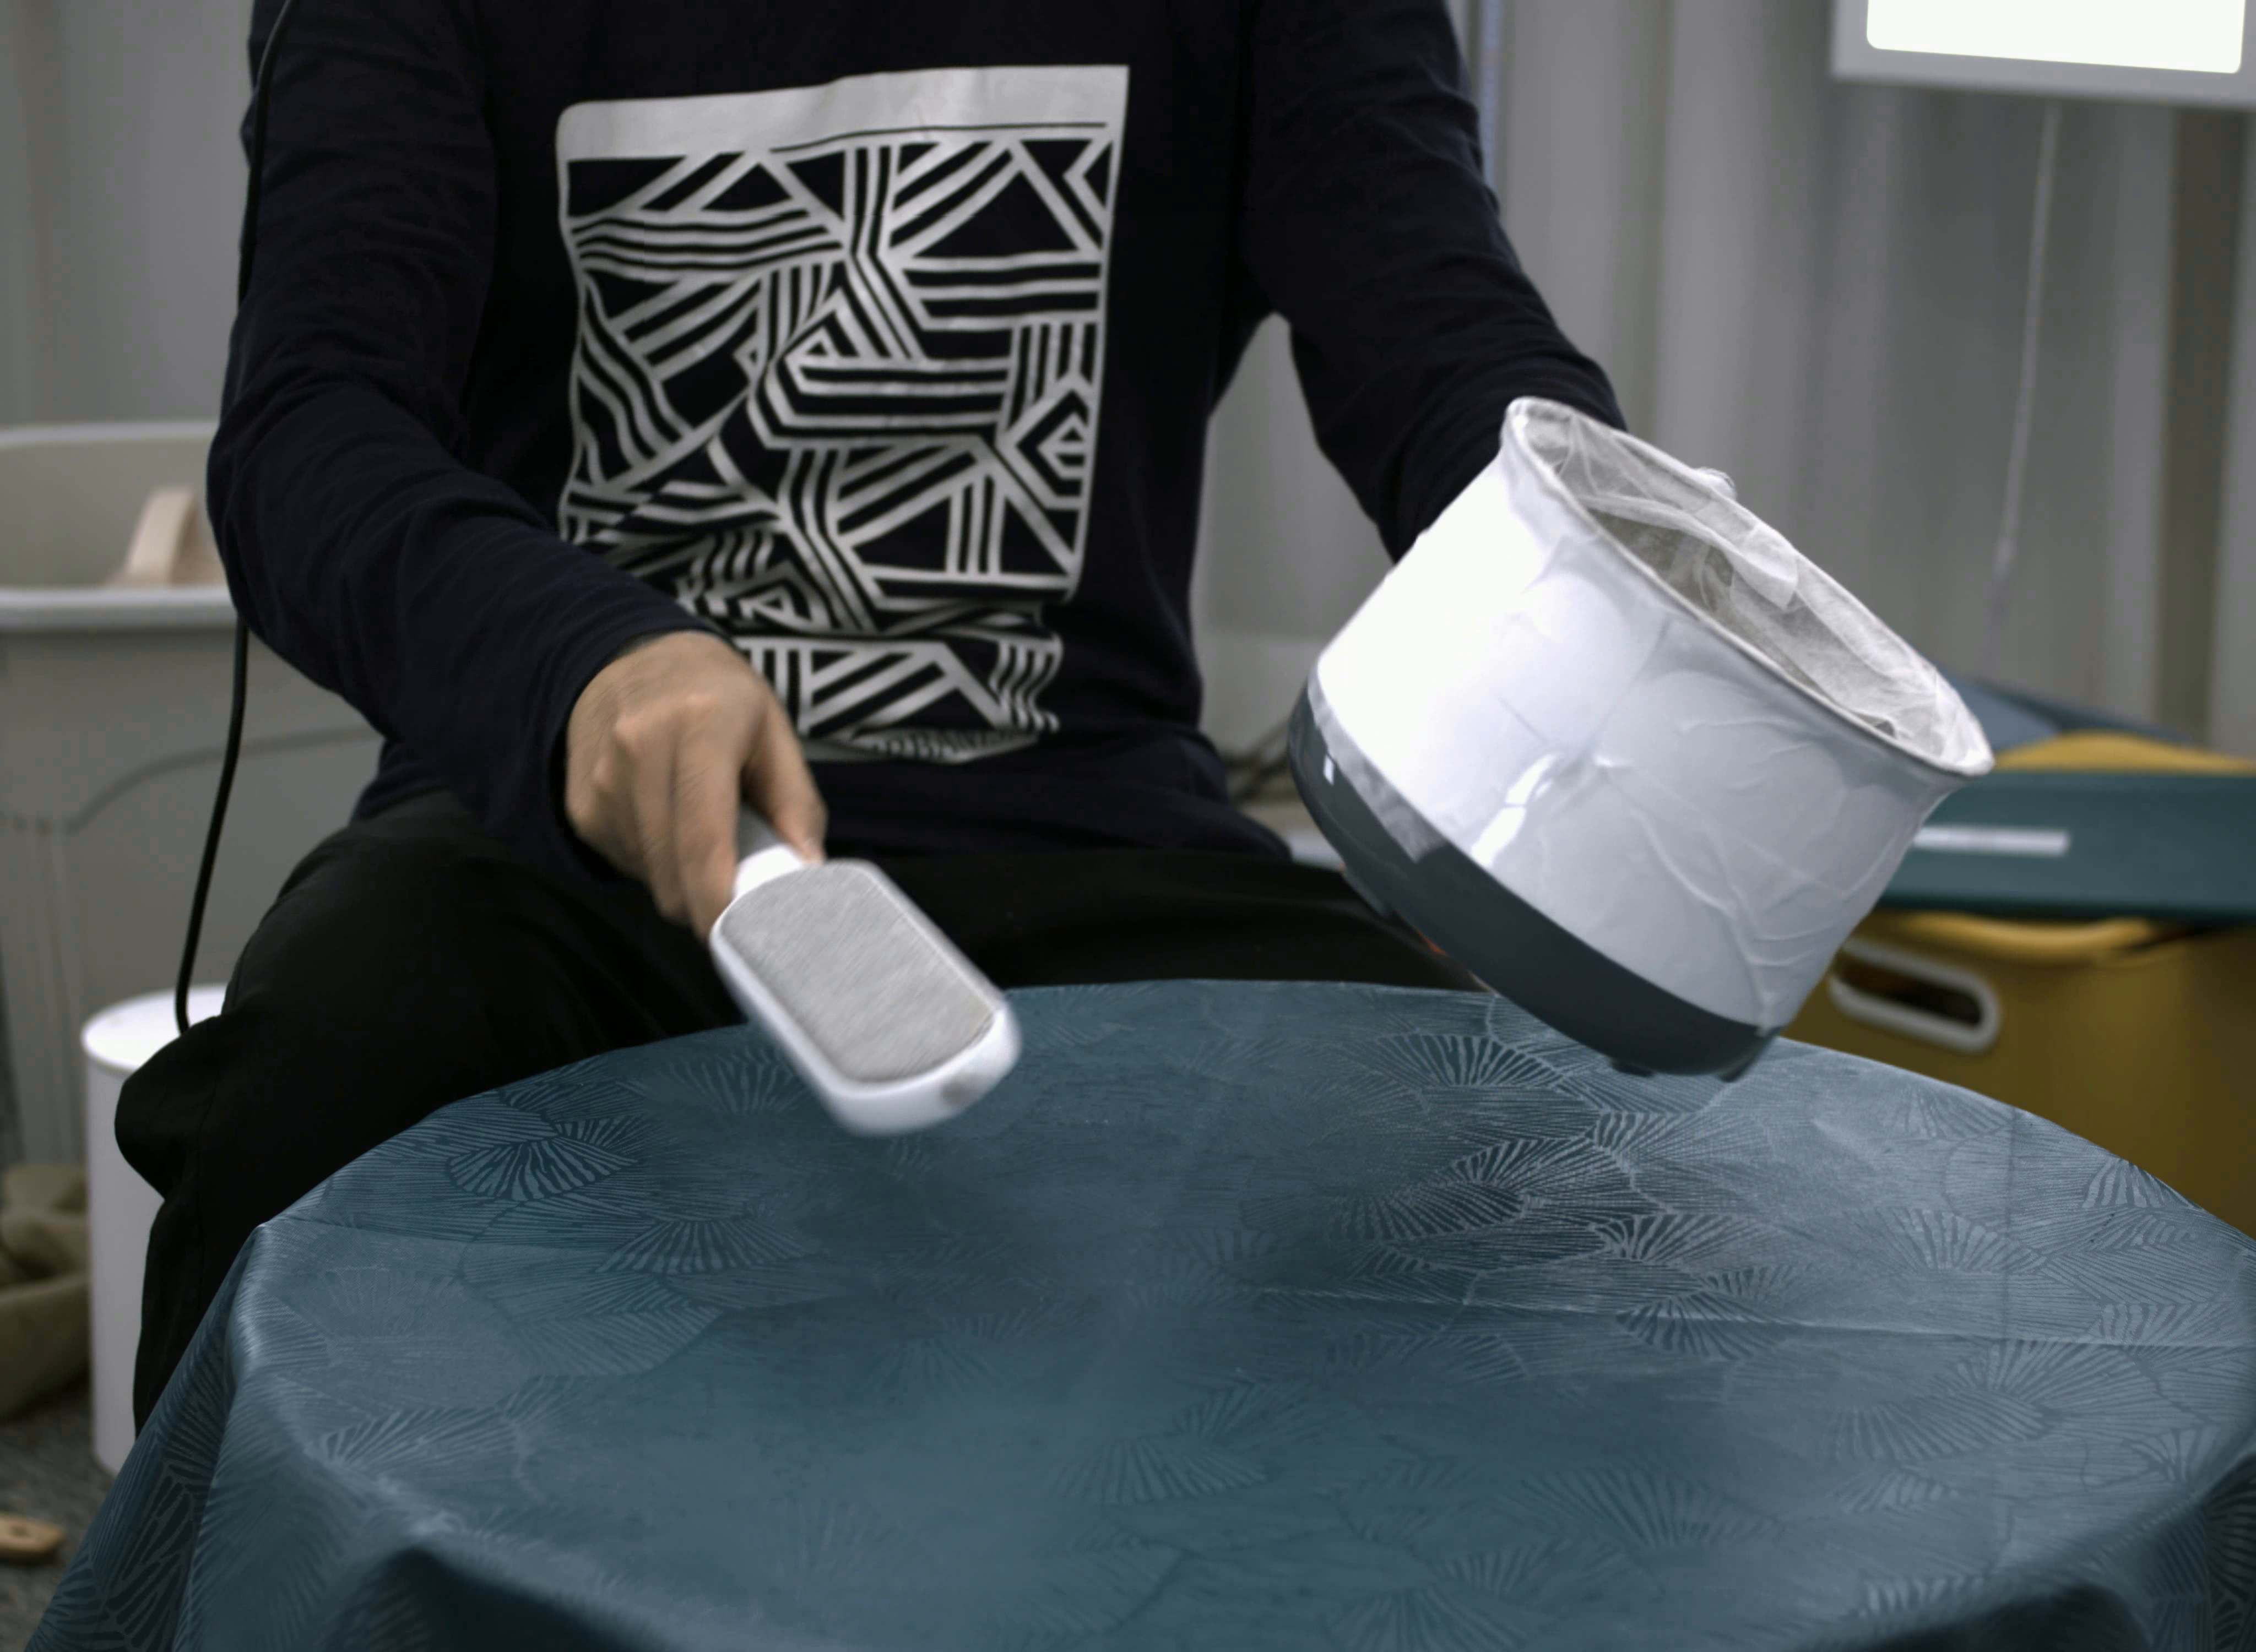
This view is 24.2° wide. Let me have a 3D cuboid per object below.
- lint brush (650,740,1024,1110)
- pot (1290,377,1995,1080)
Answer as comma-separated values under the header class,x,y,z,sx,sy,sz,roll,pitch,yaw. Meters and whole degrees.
class,x,y,z,sx,sy,sz,roll,pitch,yaw
lint brush,-0.097,0.023,1.602,0.060,0.021,0.305,-30,24,-9
pot,0.146,-0.036,1.578,0.180,0.137,0.232,37,17,-13
